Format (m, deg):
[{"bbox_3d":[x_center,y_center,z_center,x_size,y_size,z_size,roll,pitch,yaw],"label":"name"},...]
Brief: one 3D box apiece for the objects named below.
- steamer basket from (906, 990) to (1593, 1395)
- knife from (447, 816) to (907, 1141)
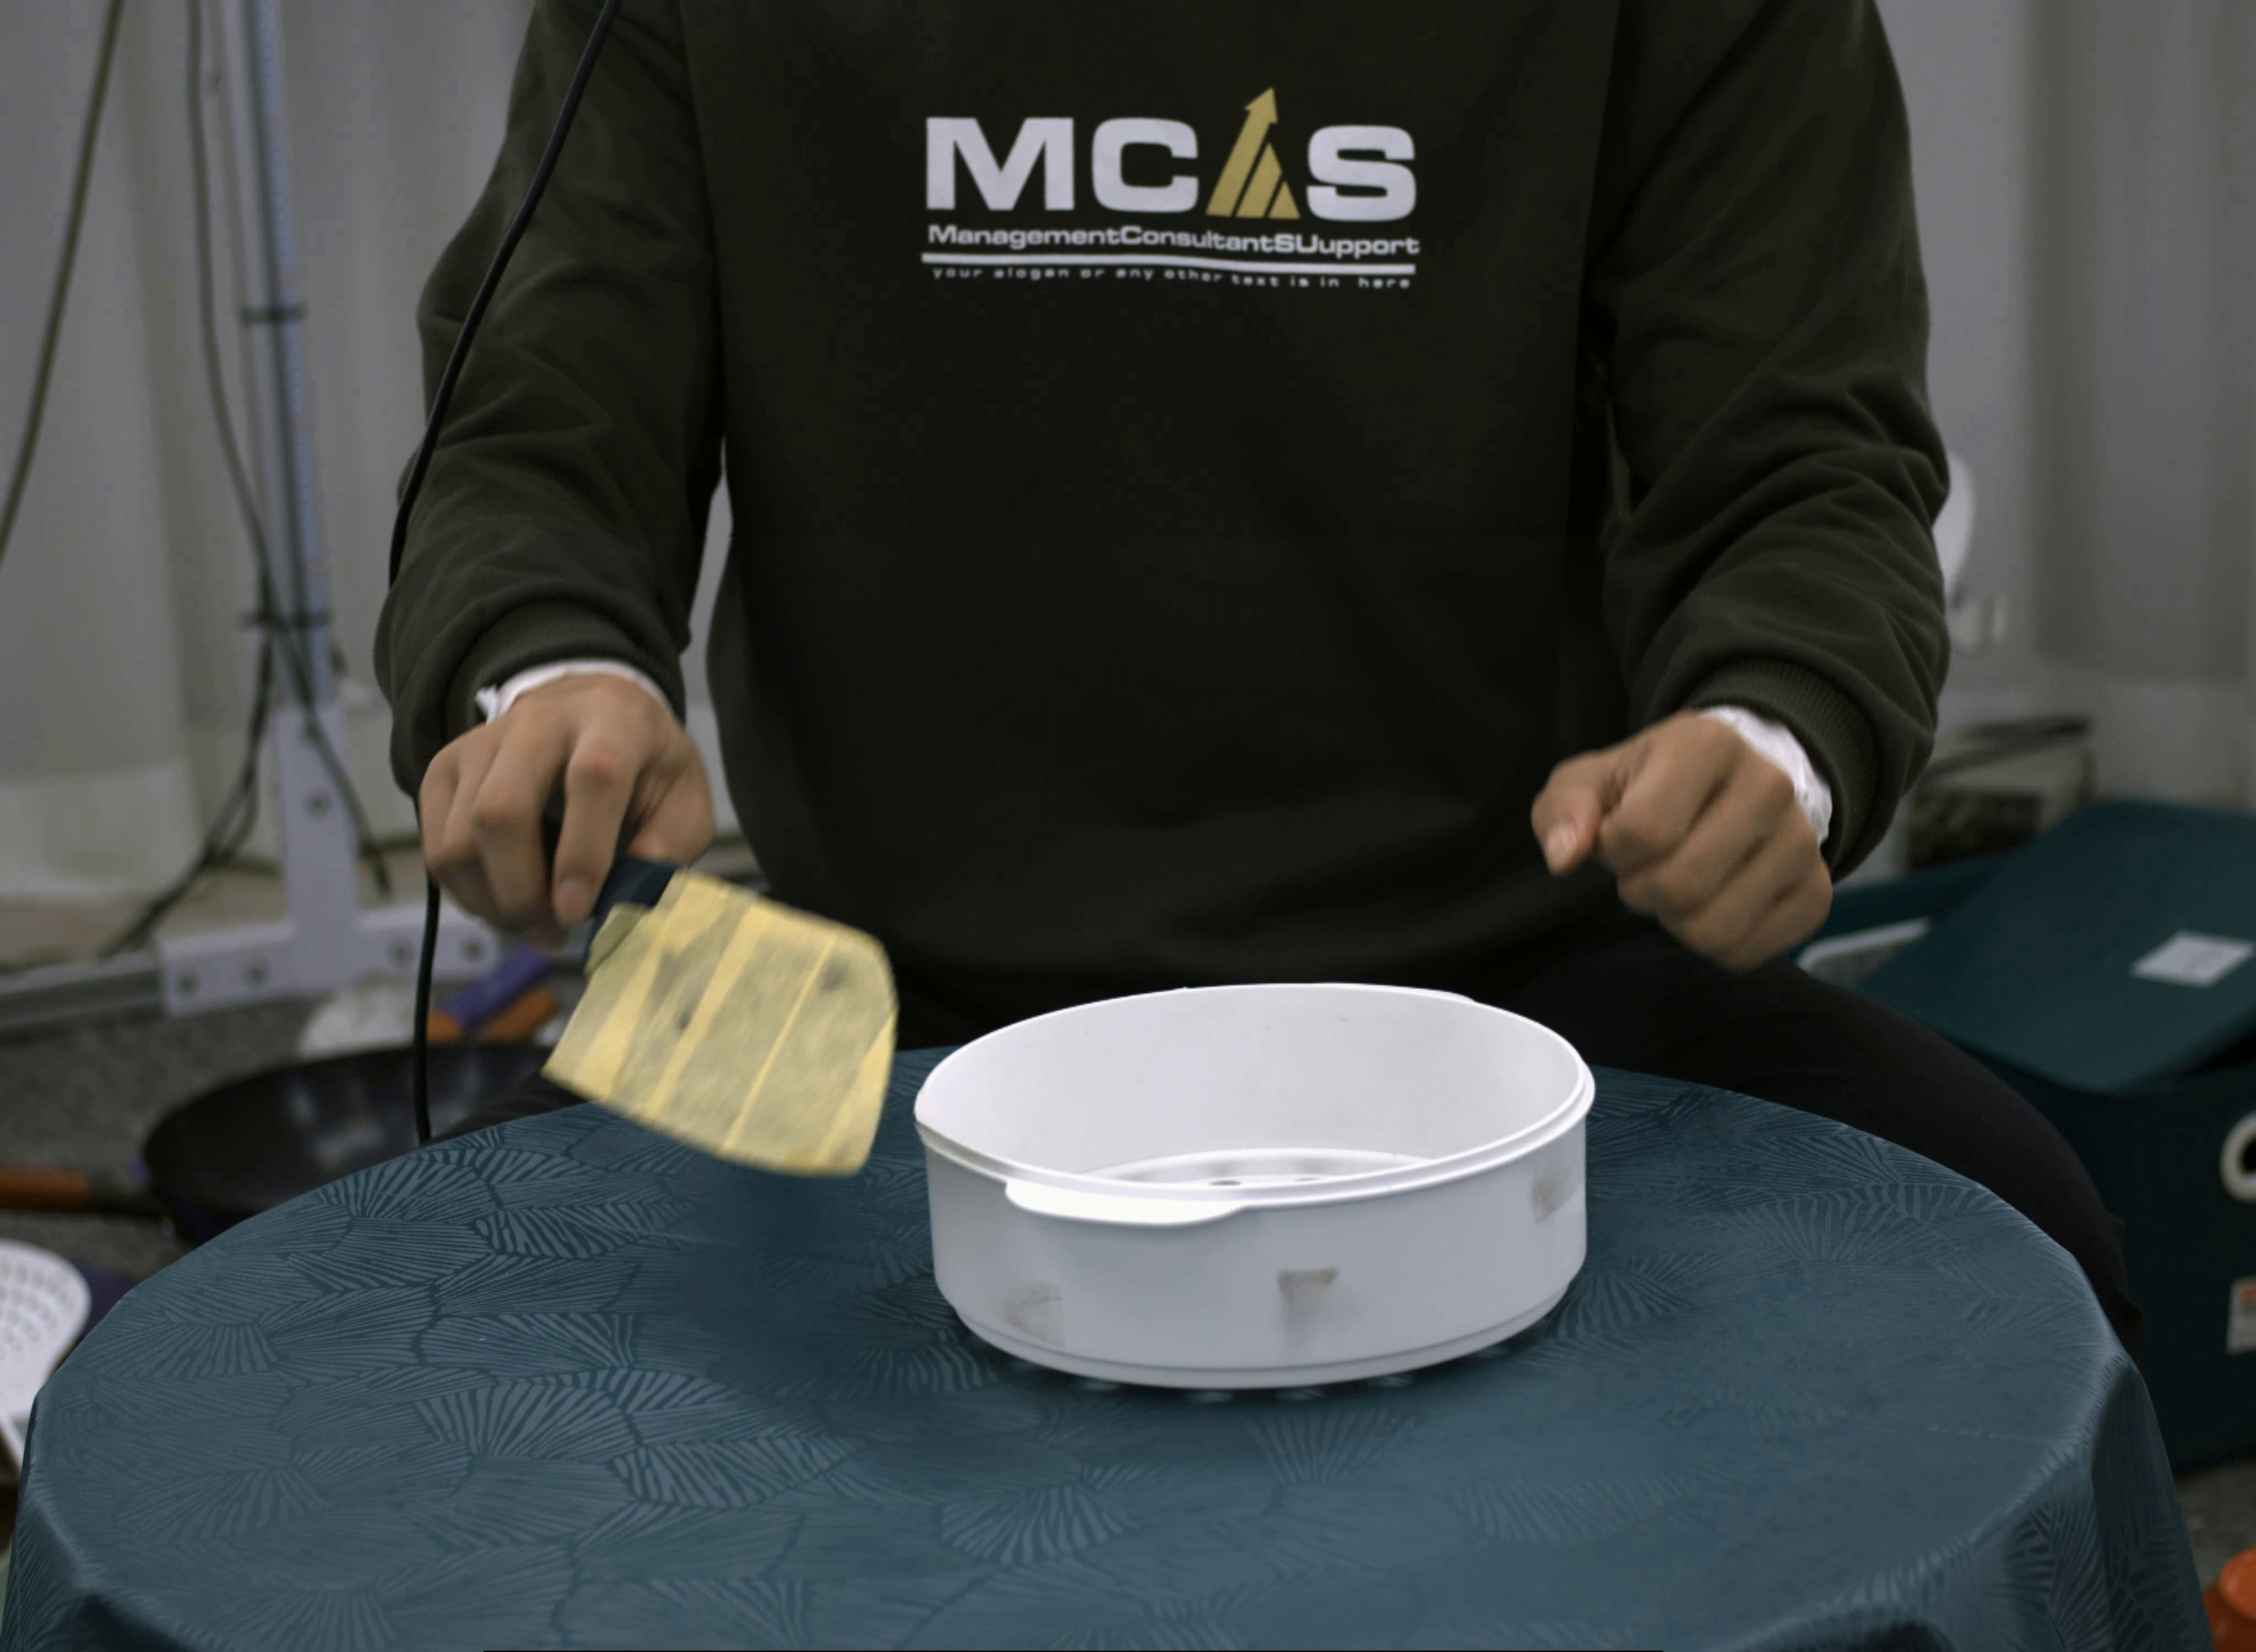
[{"bbox_3d":[0.036,0.107,1.607,0.202,0.069,0.231,5,16,24],"label":"steamer basket"},{"bbox_3d":[-0.140,0.043,1.628,0.027,0.081,0.291,34,-7,-32],"label":"knife"}]
